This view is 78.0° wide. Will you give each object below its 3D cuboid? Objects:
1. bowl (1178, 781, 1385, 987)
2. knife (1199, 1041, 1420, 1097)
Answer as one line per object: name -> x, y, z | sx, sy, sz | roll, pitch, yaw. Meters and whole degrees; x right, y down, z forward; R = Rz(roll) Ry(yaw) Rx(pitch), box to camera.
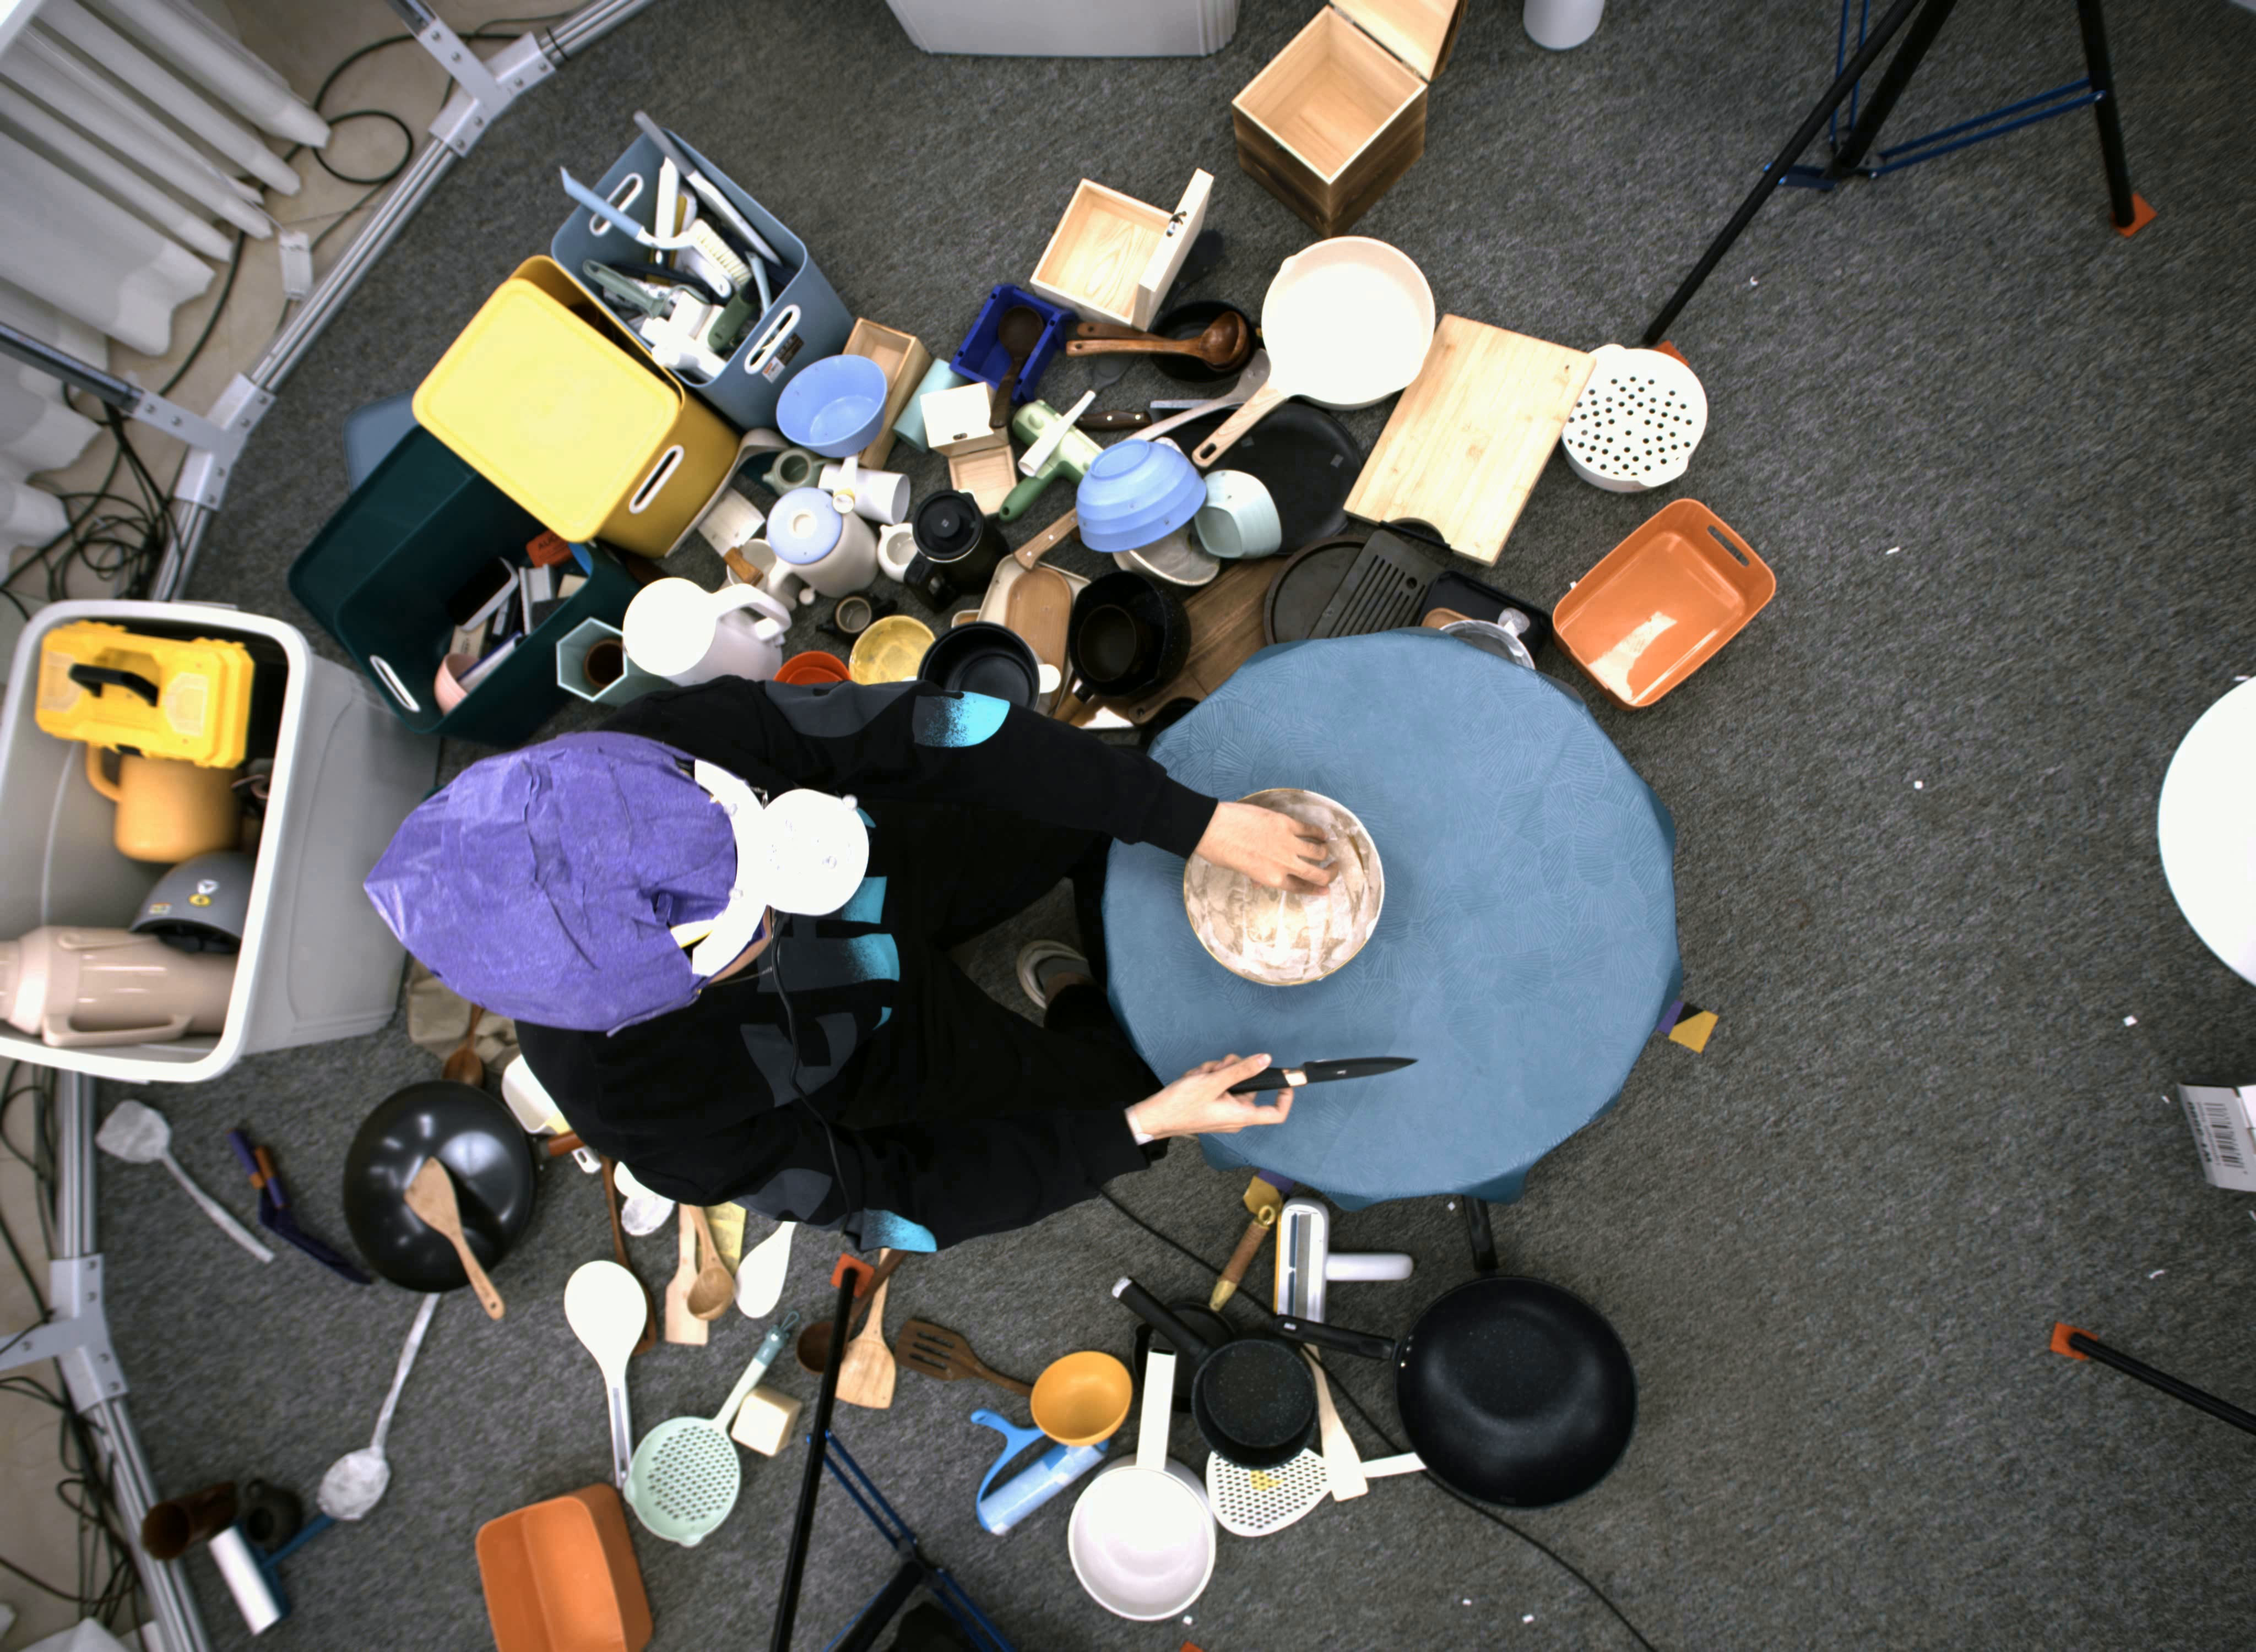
bowl -> 0.158, 0.063, 1.432 | 0.215, 0.094, 0.214 | -1, 87, 9
knife -> 0.181, 0.241, 1.380 | 0.226, 0.017, 0.025 | -11, 64, 6
